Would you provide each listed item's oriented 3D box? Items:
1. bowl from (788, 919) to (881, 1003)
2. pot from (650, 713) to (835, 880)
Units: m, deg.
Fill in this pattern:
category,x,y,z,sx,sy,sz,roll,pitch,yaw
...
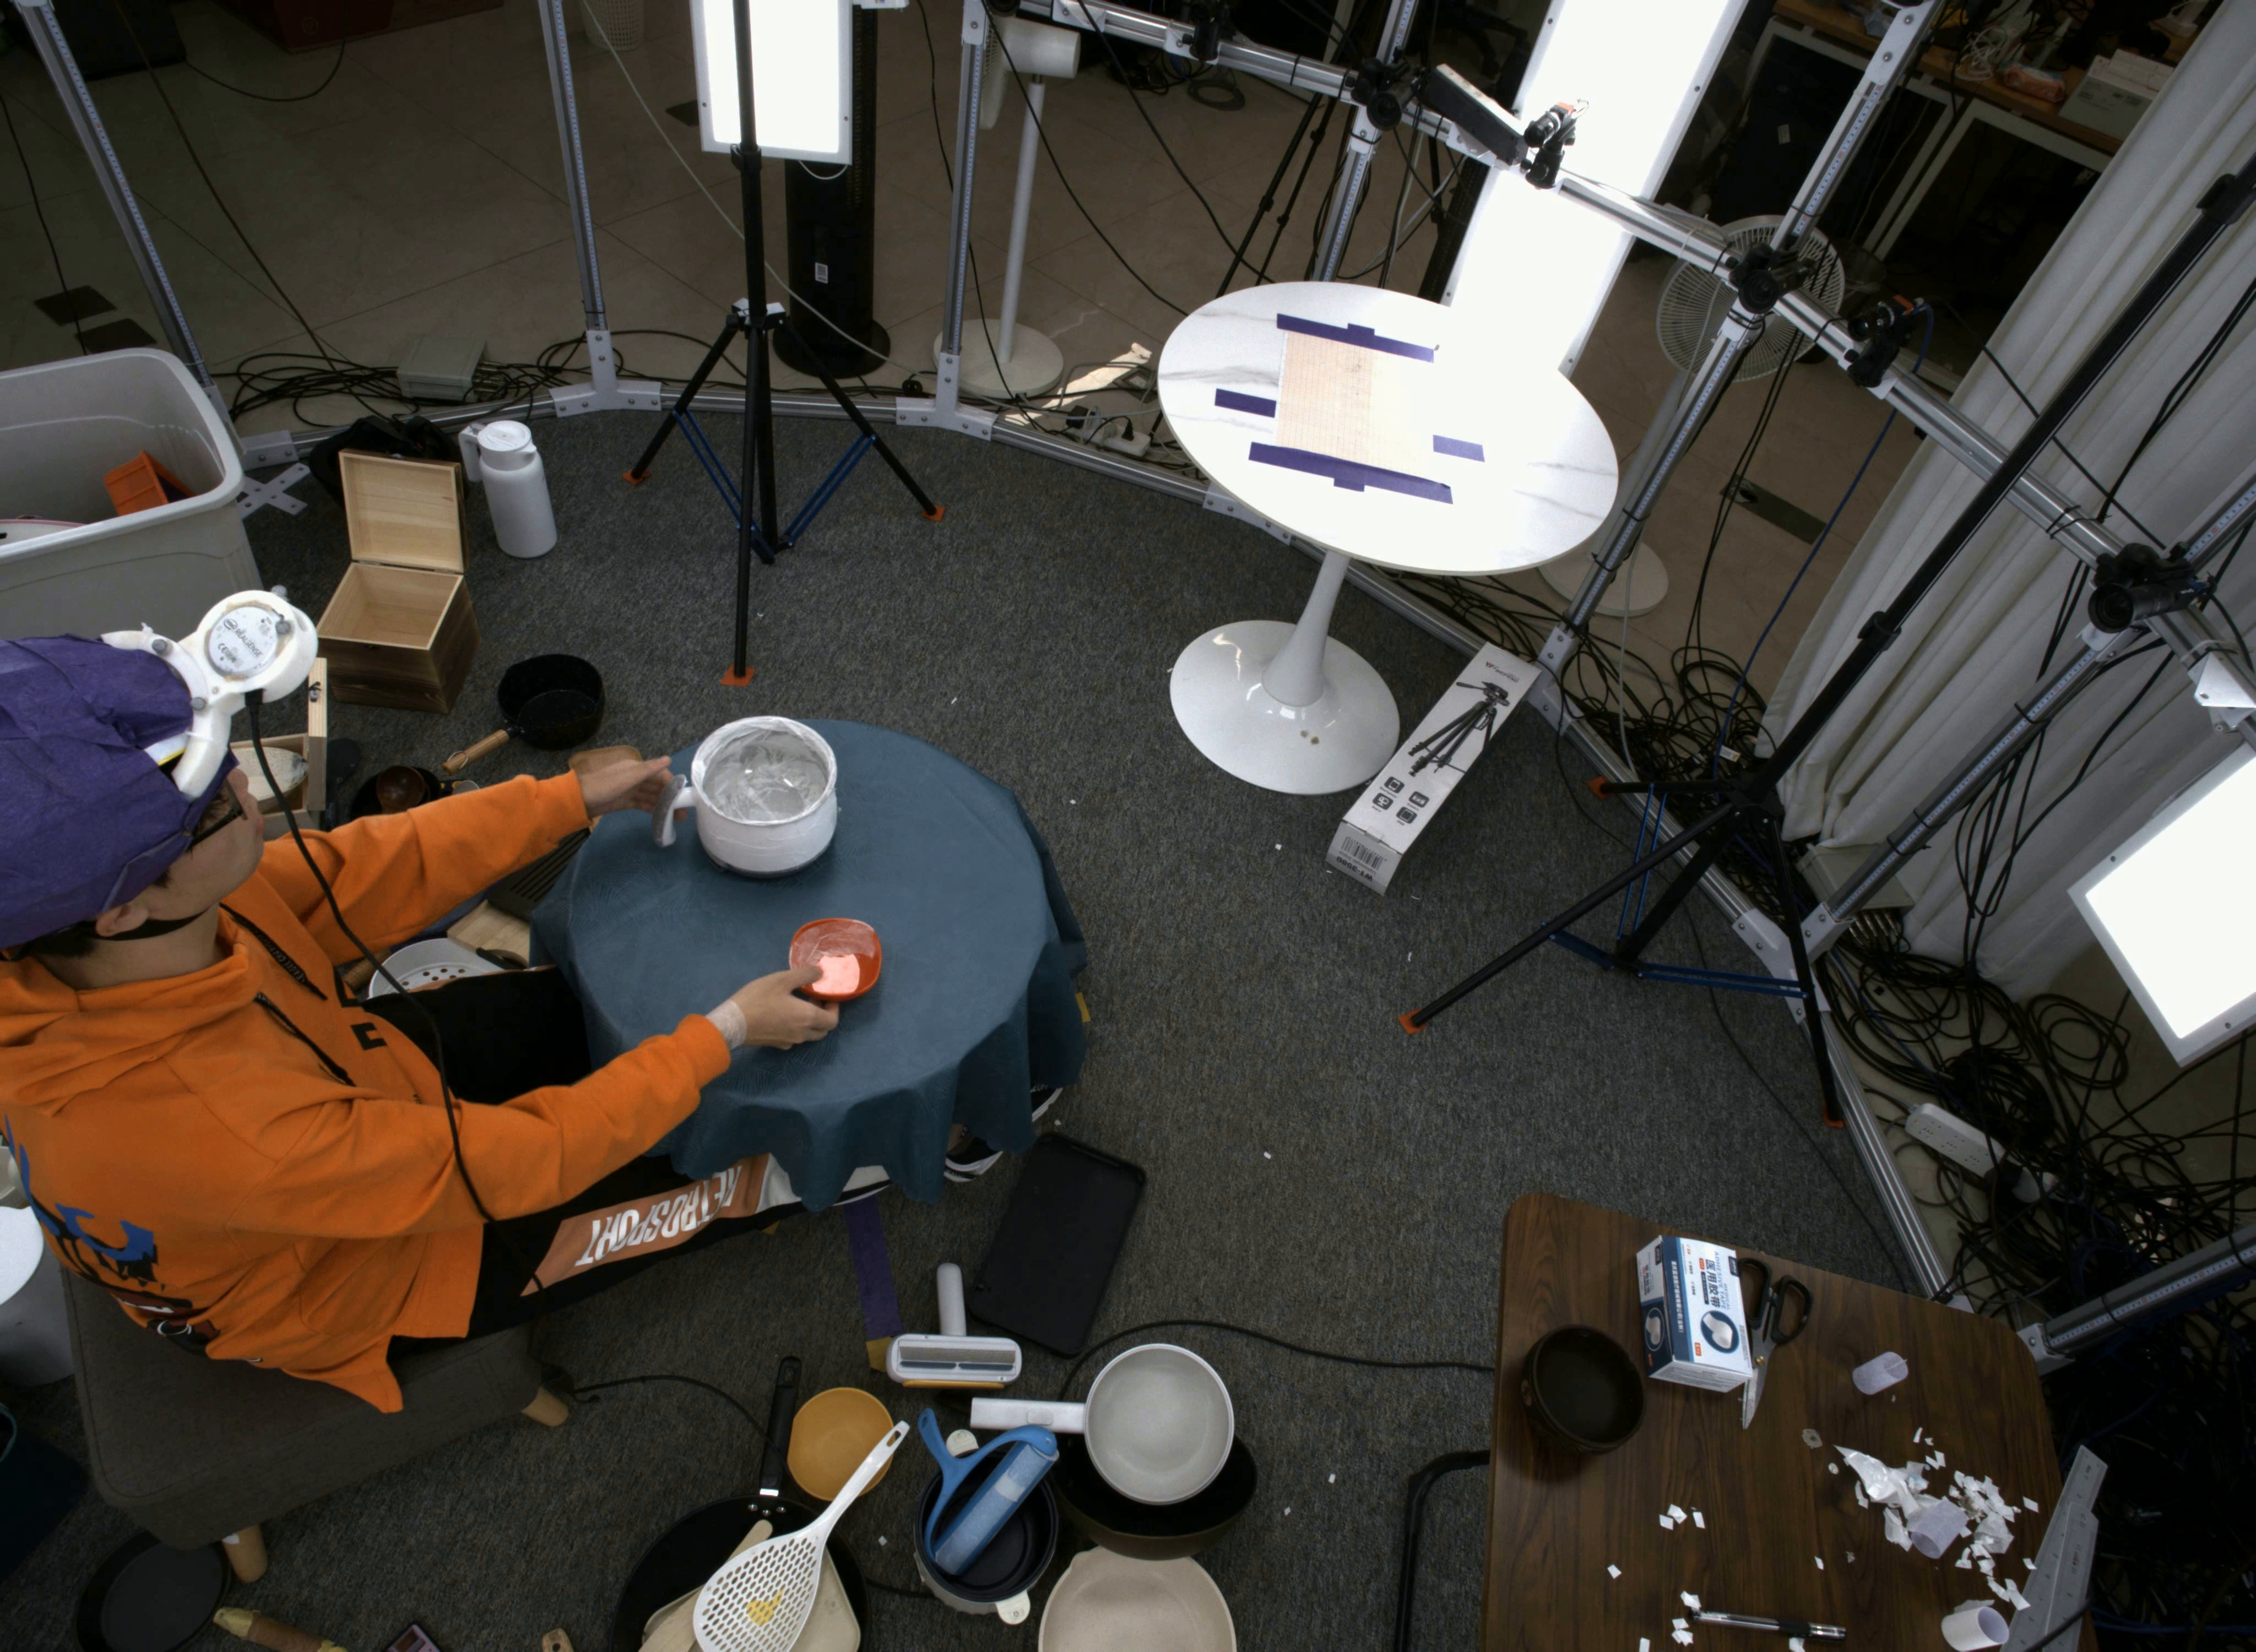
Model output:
category,x,y,z,sx,sy,sz,roll,pitch,yaw
bowl,-0.355,0.170,1.572,0.119,0.052,0.117,9,52,-10
pot,-0.487,-0.029,1.630,0.235,0.139,0.174,-10,56,-21
